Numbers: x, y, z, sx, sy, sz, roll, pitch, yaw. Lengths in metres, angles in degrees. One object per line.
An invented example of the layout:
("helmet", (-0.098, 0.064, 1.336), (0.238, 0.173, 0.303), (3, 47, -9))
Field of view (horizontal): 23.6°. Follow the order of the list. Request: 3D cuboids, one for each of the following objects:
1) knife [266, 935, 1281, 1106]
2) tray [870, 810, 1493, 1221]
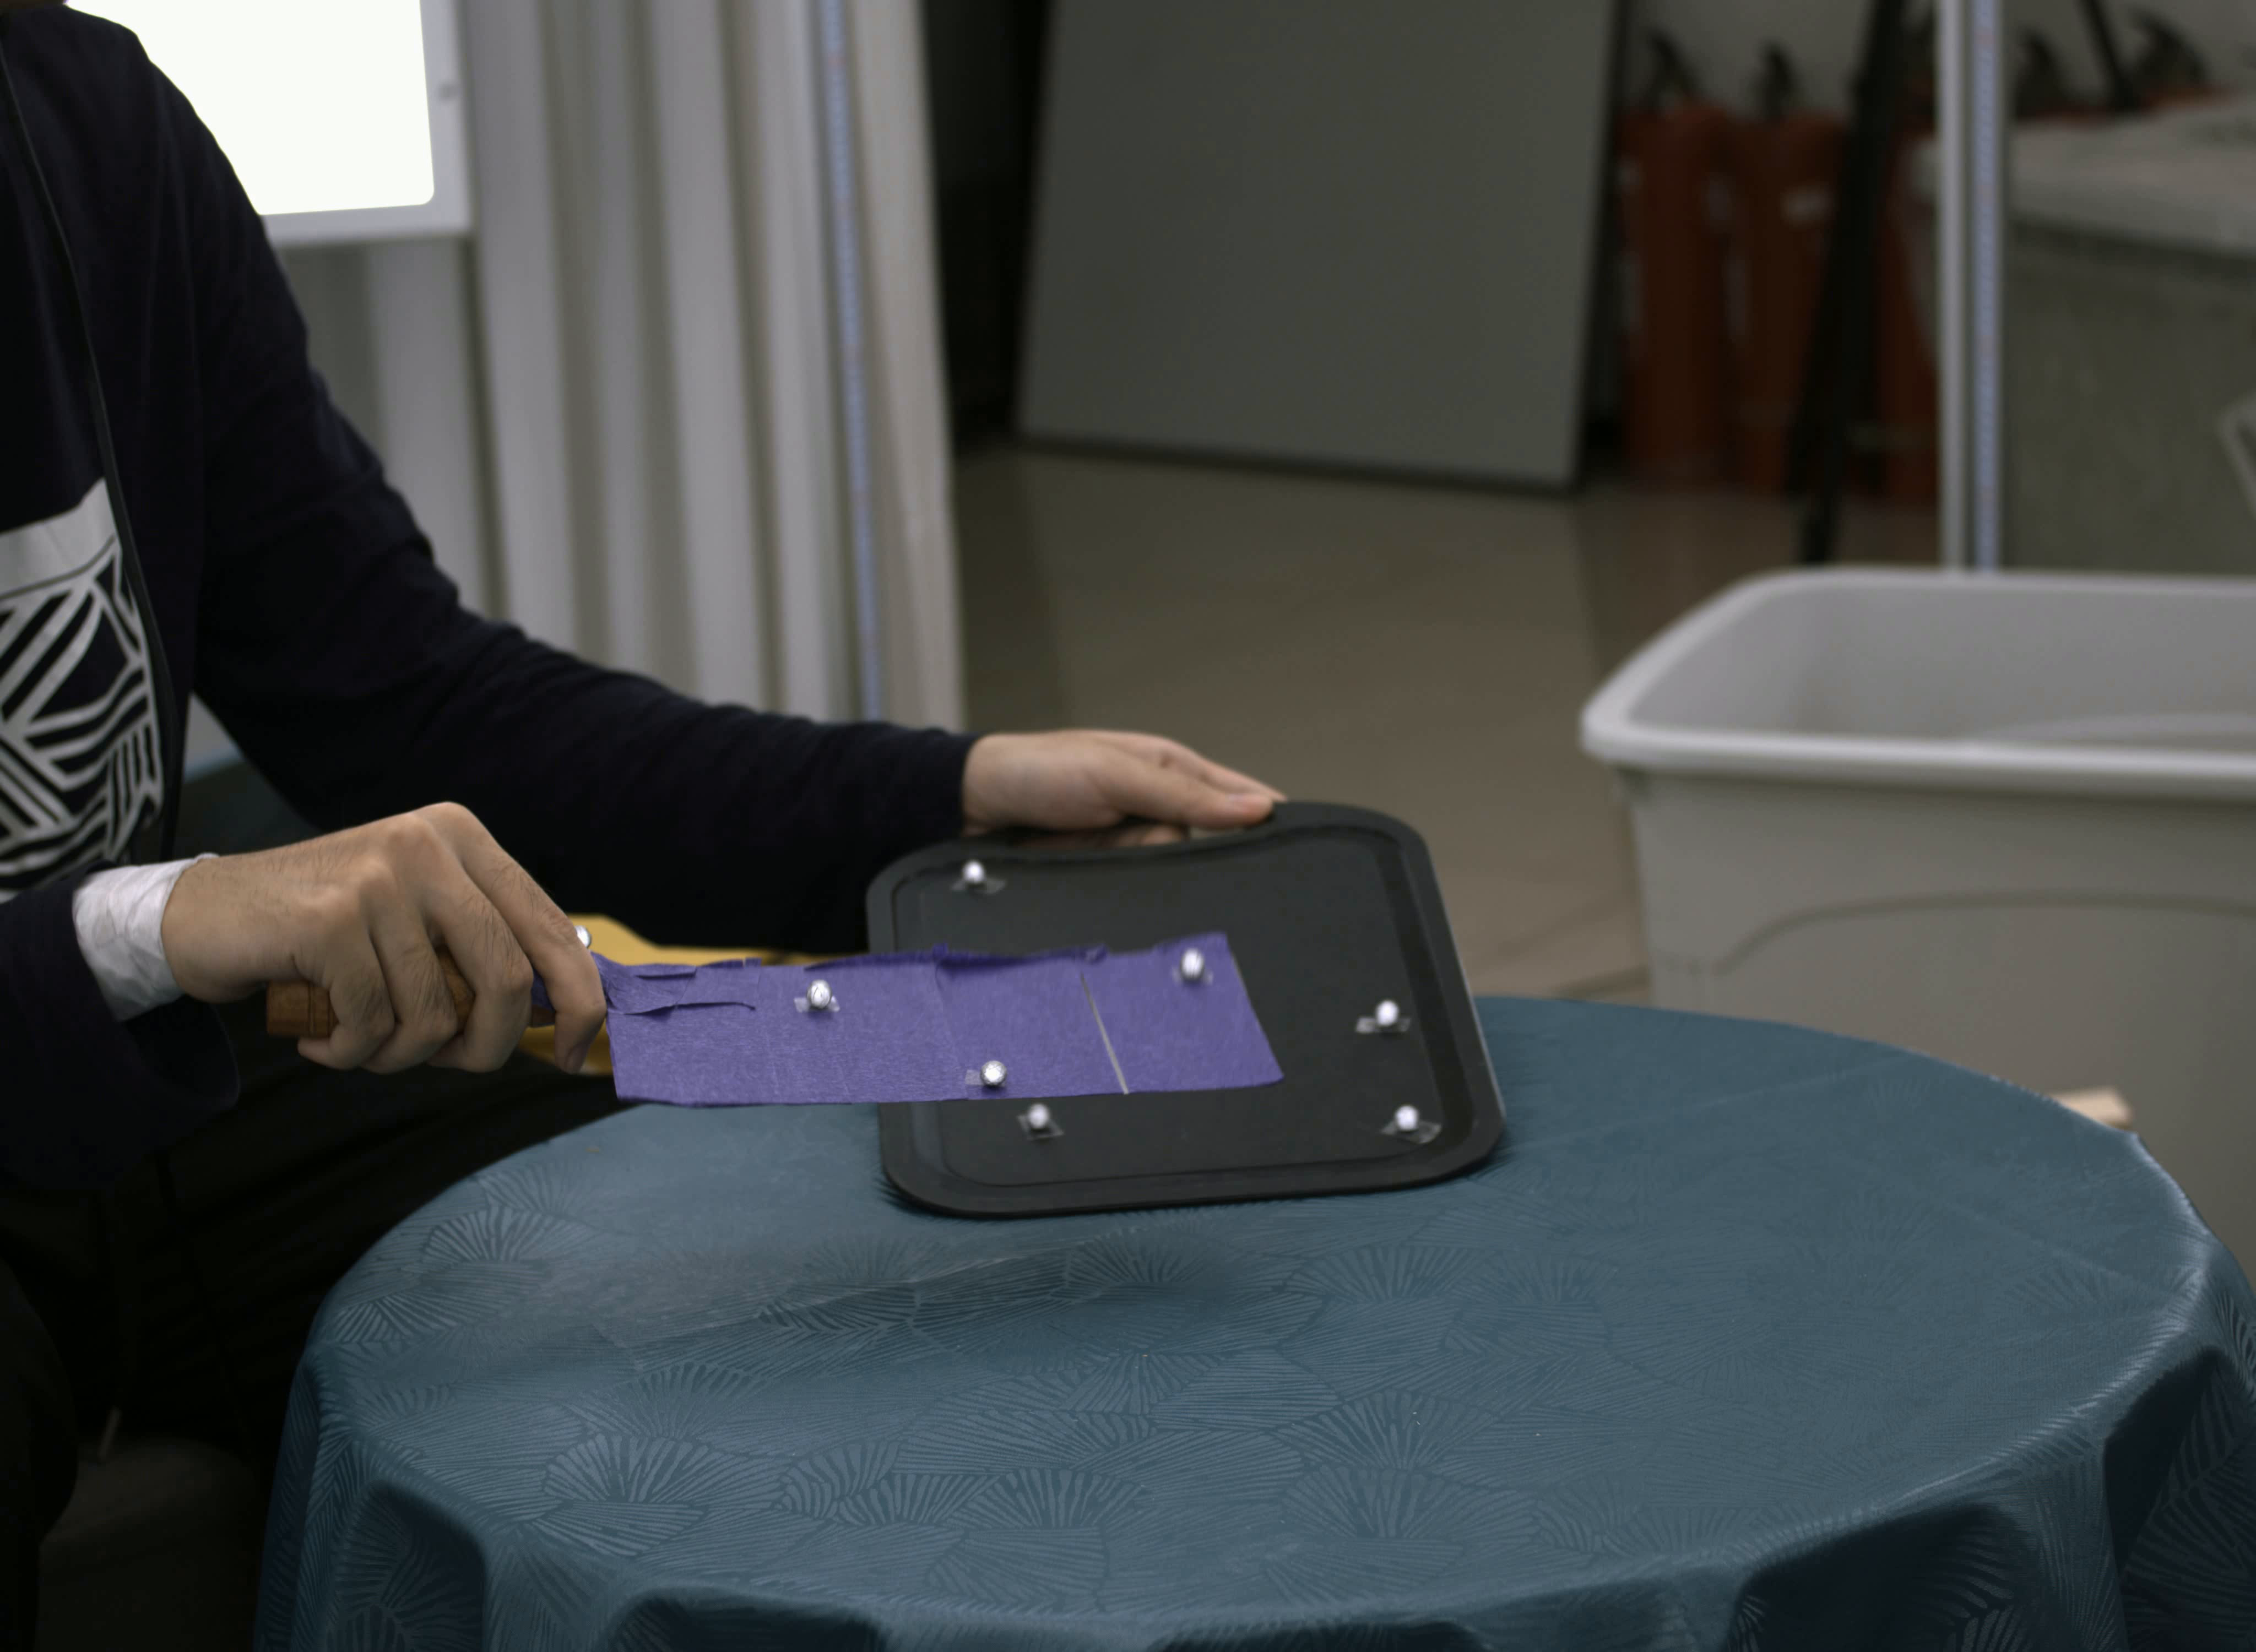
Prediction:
("knife", (-0.110, 0.060, 1.678), (0.310, 0.032, 0.104), (-3, 22, -8))
("tray", (0.013, 0.059, 1.900), (0.208, 0.010, 0.327), (-5, 23, 0))
